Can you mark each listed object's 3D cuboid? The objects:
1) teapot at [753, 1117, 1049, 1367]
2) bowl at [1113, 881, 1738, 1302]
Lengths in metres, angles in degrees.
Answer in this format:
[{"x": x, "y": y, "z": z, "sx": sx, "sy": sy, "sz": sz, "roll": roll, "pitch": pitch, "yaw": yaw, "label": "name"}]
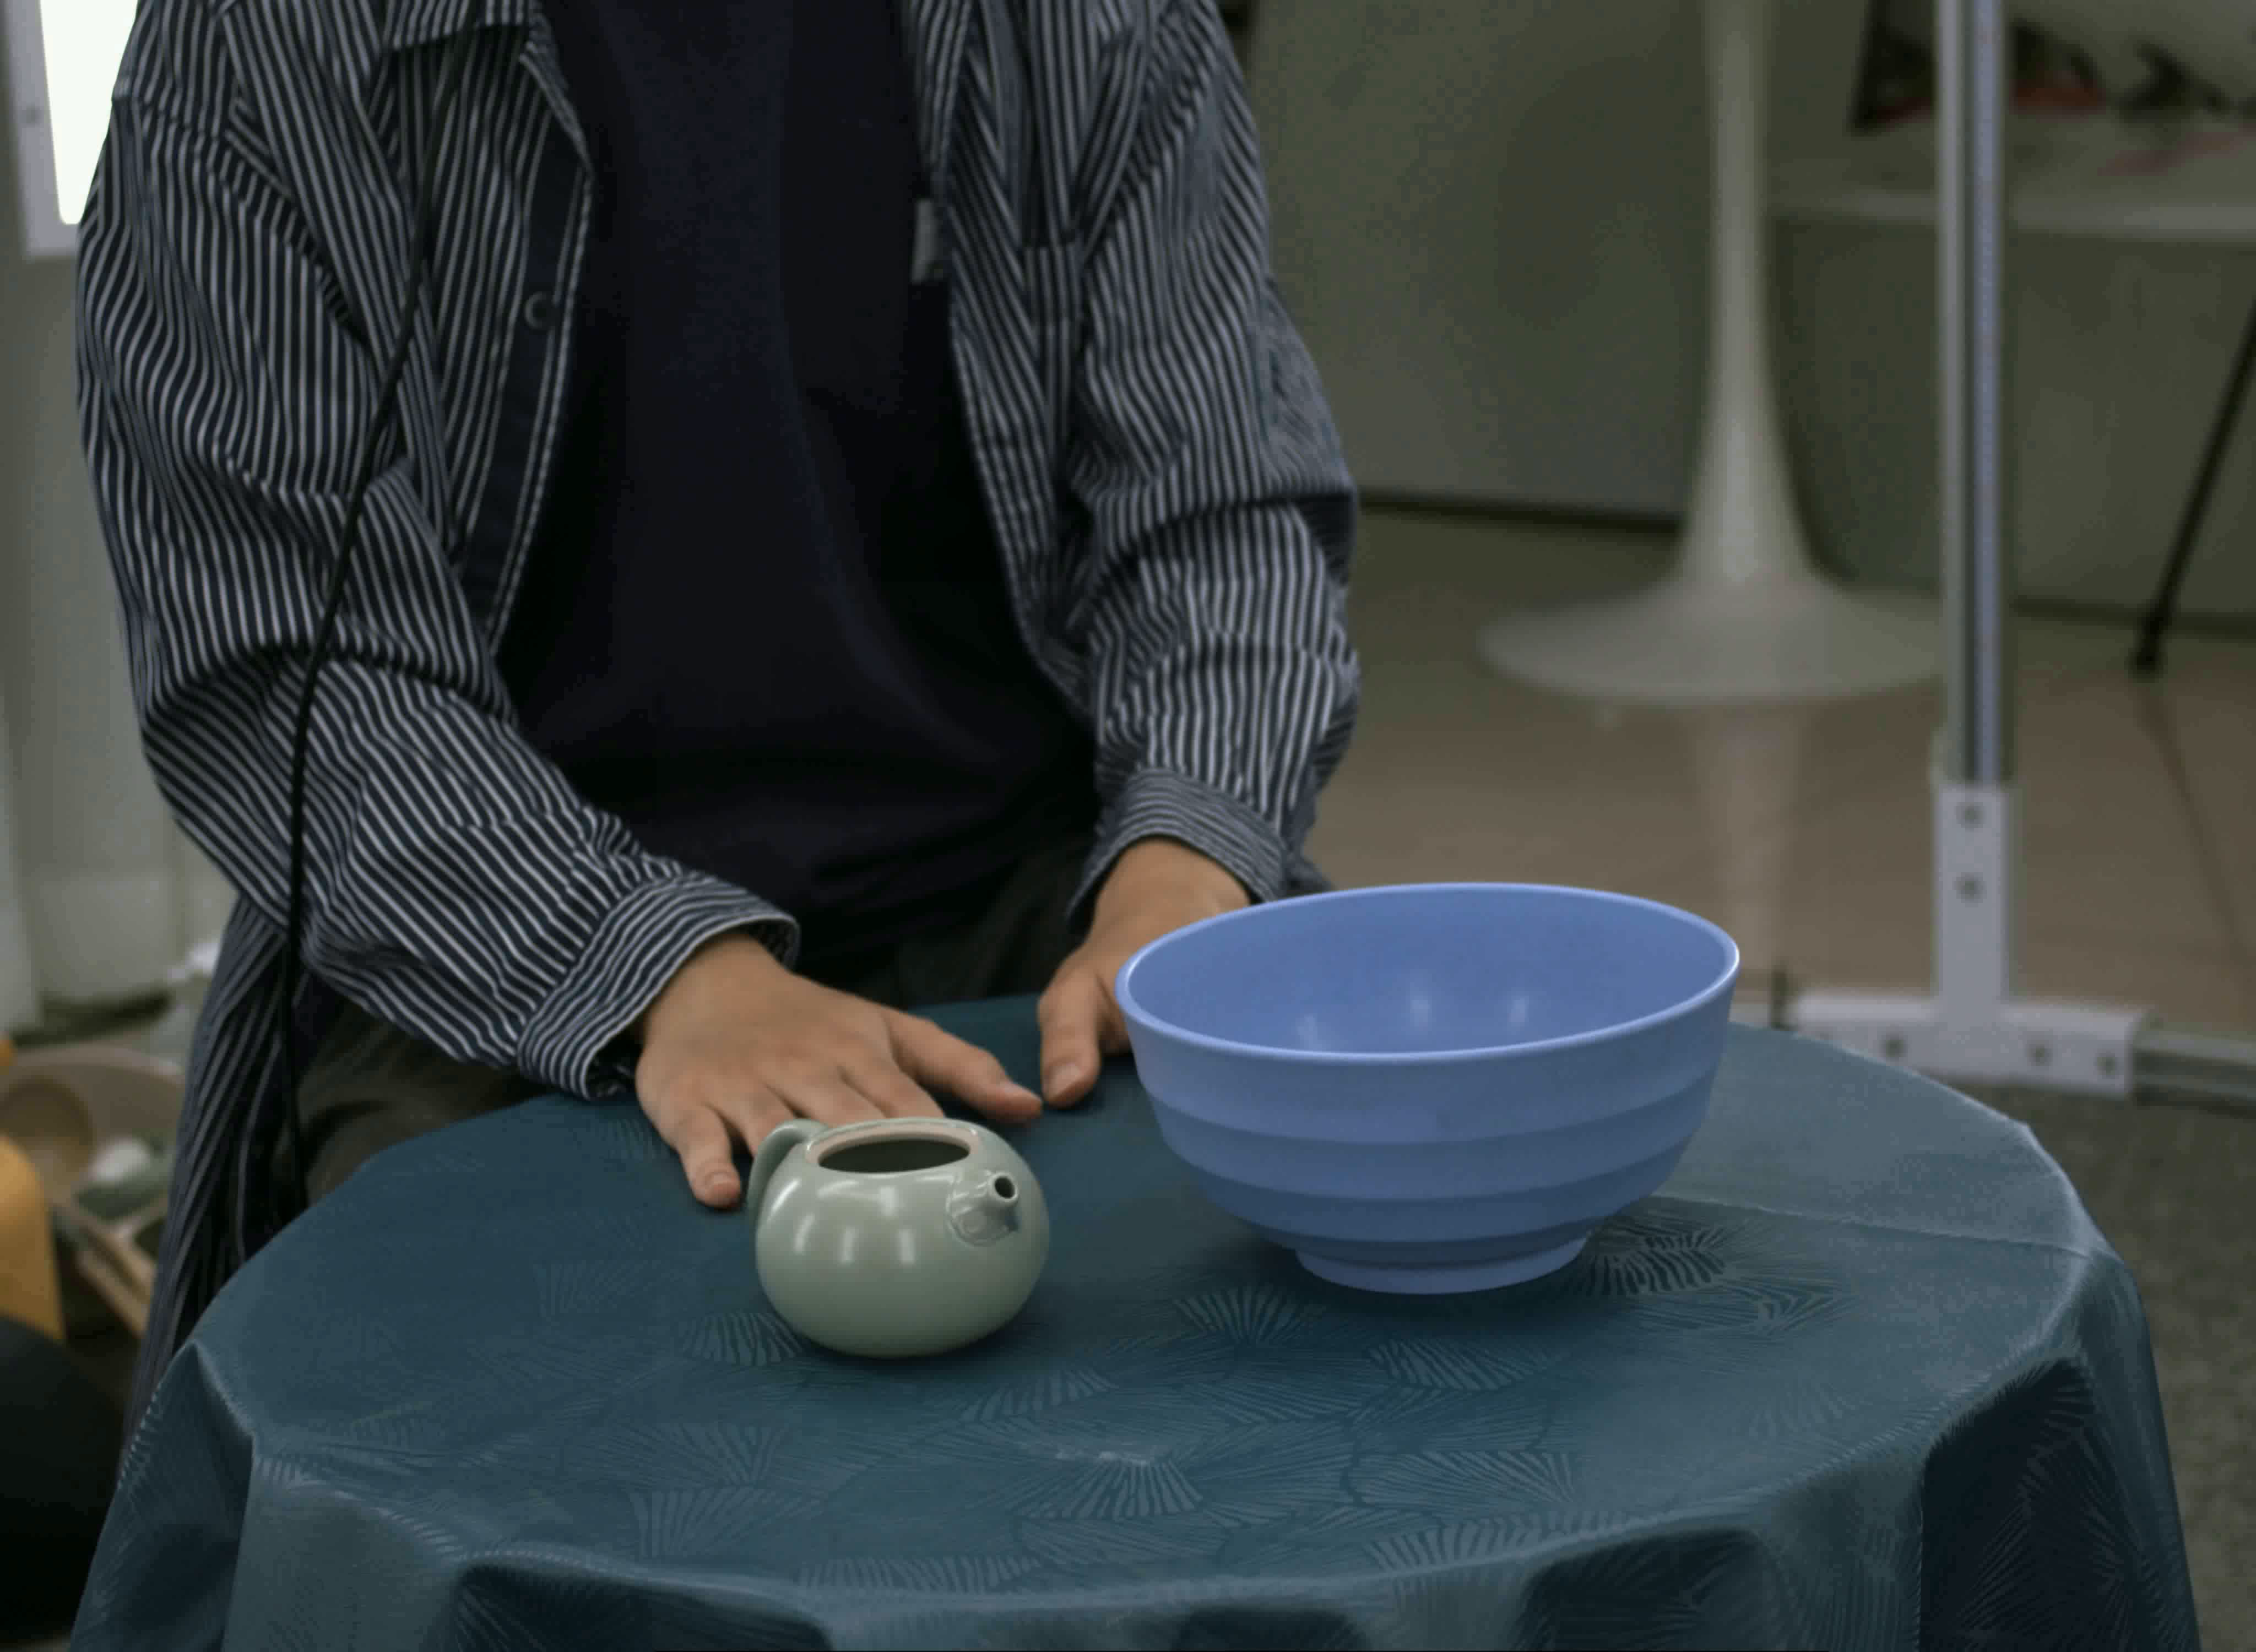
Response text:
[{"x": -0.075, "y": 0.125, "z": 1.650, "sx": 0.089, "sy": 0.061, "sz": 0.130, "roll": -16, "pitch": 17, "yaw": -33, "label": "teapot"}, {"x": 0.095, "y": 0.088, "z": 1.680, "sx": 0.194, "sy": 0.096, "sz": 0.197, "roll": -5, "pitch": 14, "yaw": 0, "label": "bowl"}]
